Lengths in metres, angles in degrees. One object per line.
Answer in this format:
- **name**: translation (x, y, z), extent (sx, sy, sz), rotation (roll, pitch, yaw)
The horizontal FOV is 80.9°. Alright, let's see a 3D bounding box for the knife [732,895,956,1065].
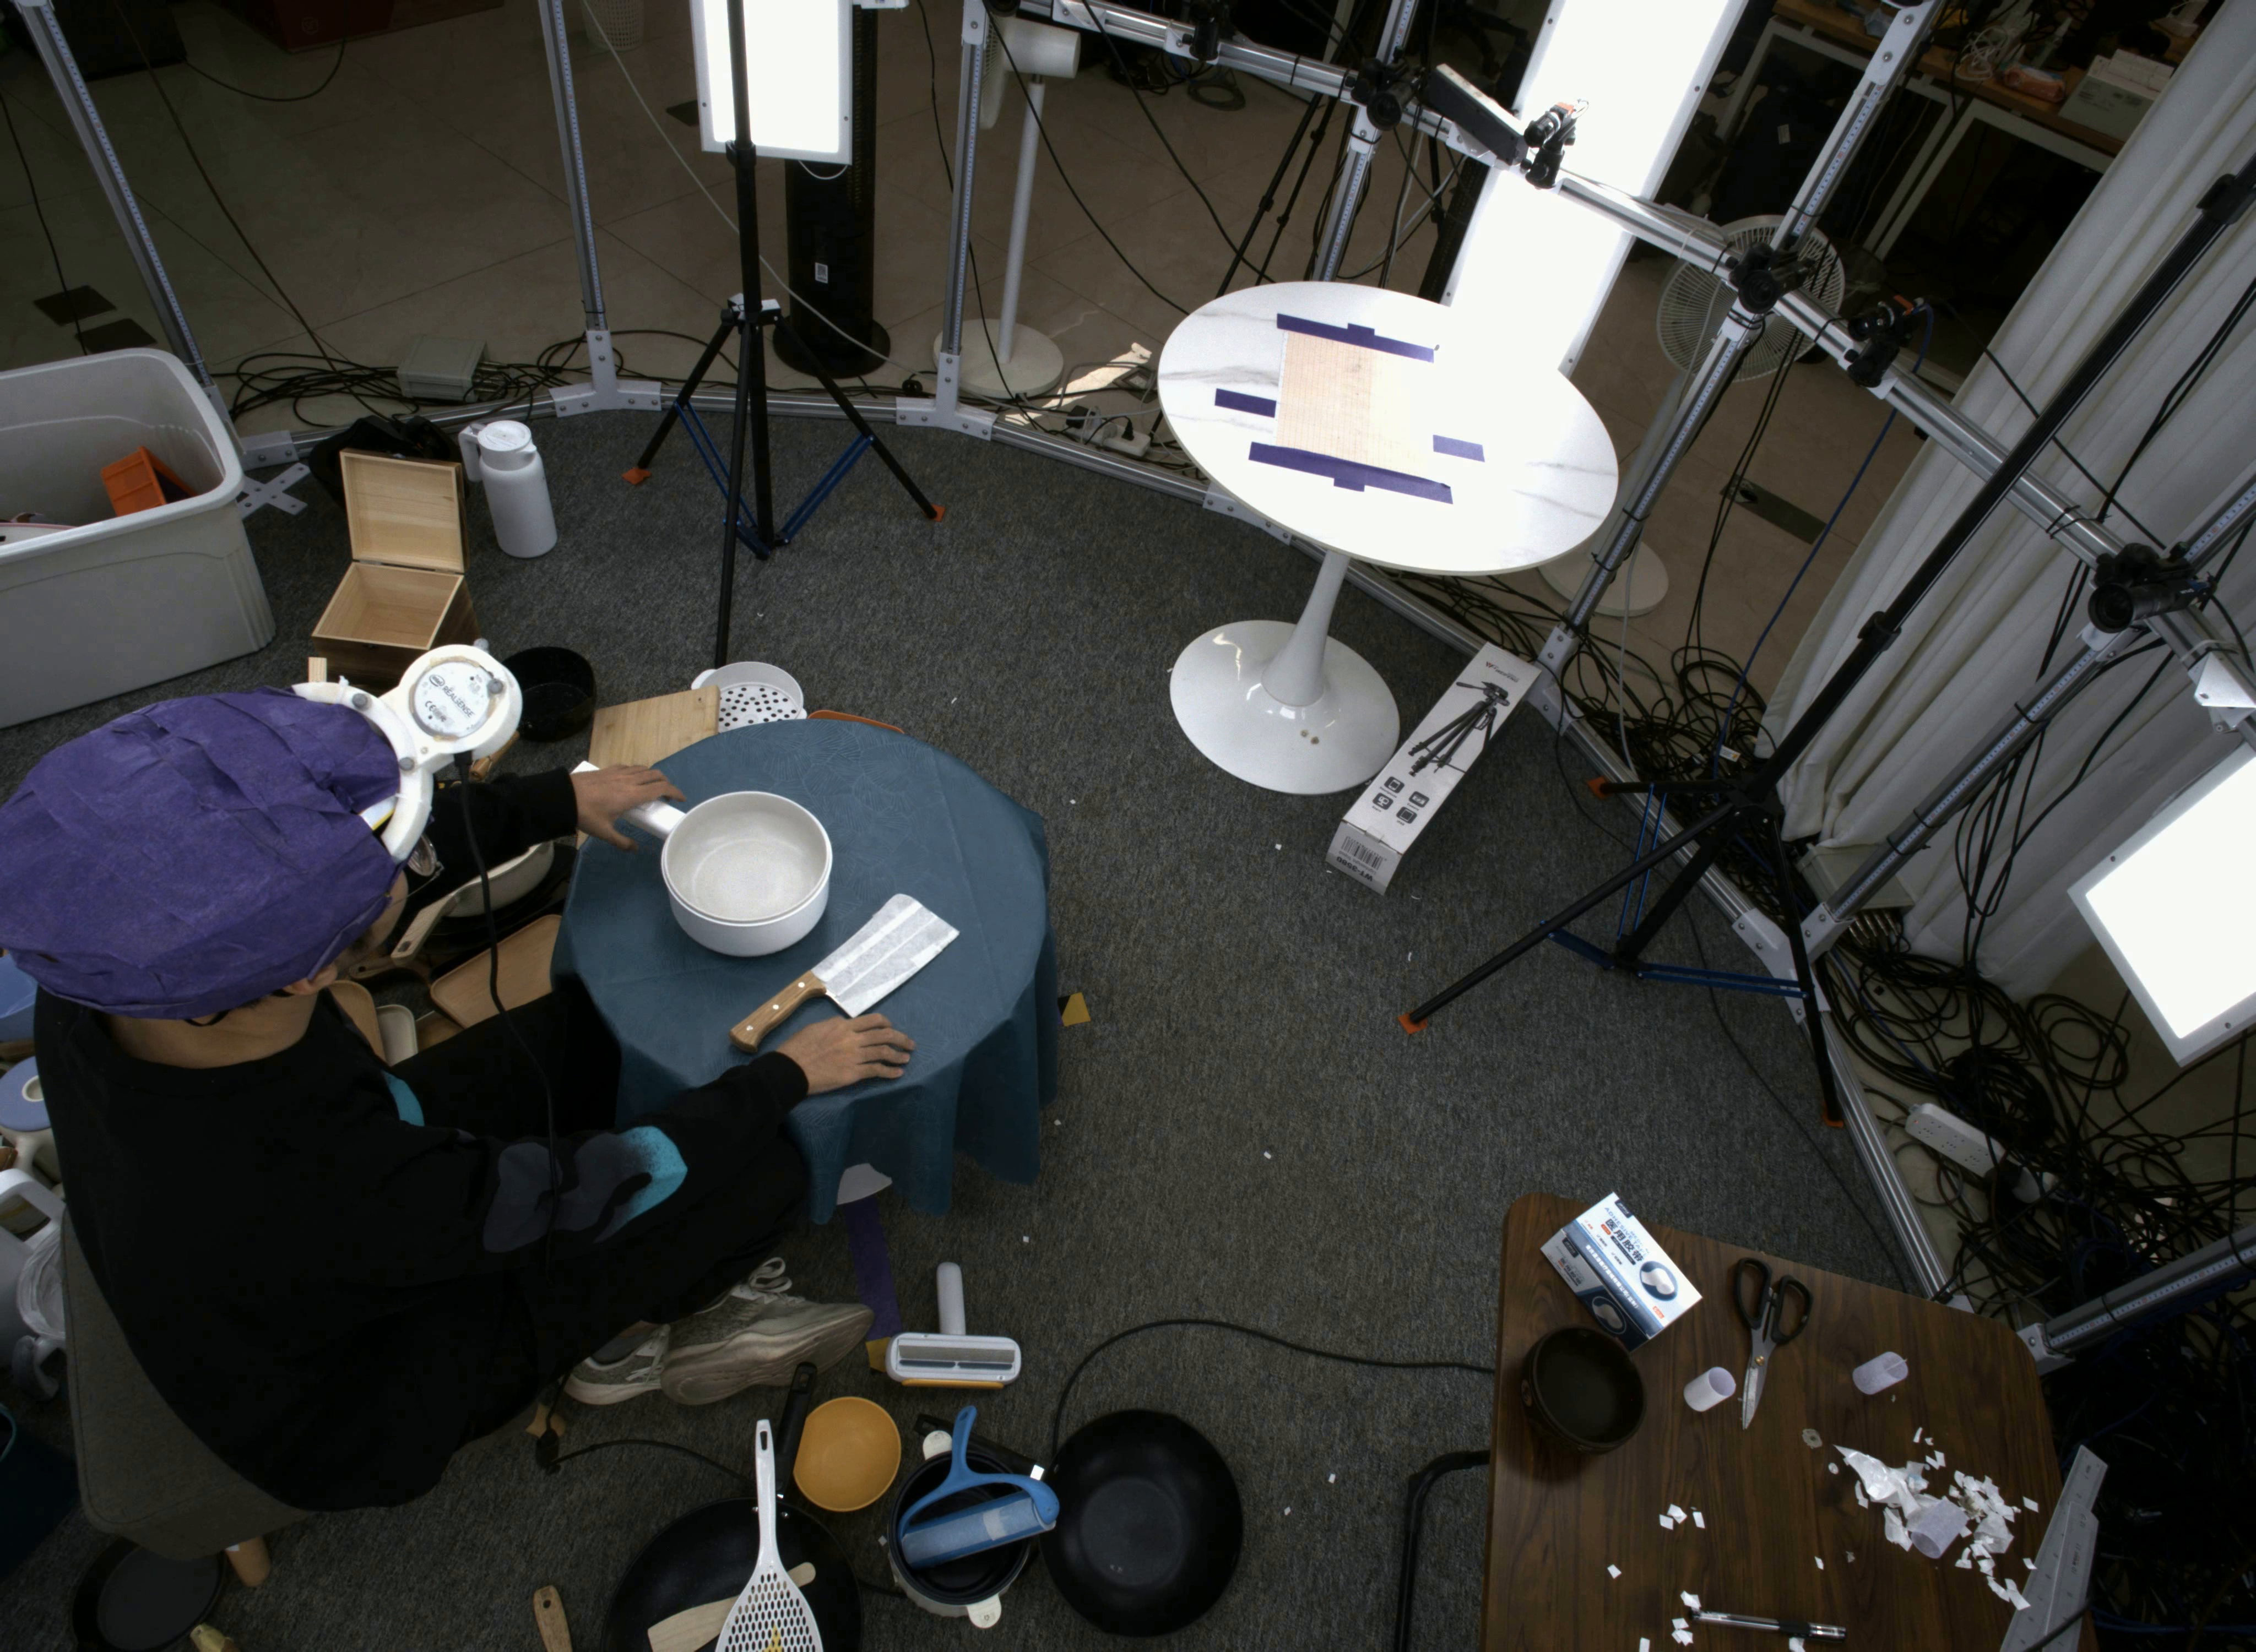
- **knife**: translation (-0.348, 0.184, 1.584), extent (0.111, 0.022, 0.316), rotation (41, 52, 16)

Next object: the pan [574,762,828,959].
- **pan**: translation (-0.538, 0.031, 1.596), extent (0.350, 0.104, 0.200), rotation (25, 52, 6)
